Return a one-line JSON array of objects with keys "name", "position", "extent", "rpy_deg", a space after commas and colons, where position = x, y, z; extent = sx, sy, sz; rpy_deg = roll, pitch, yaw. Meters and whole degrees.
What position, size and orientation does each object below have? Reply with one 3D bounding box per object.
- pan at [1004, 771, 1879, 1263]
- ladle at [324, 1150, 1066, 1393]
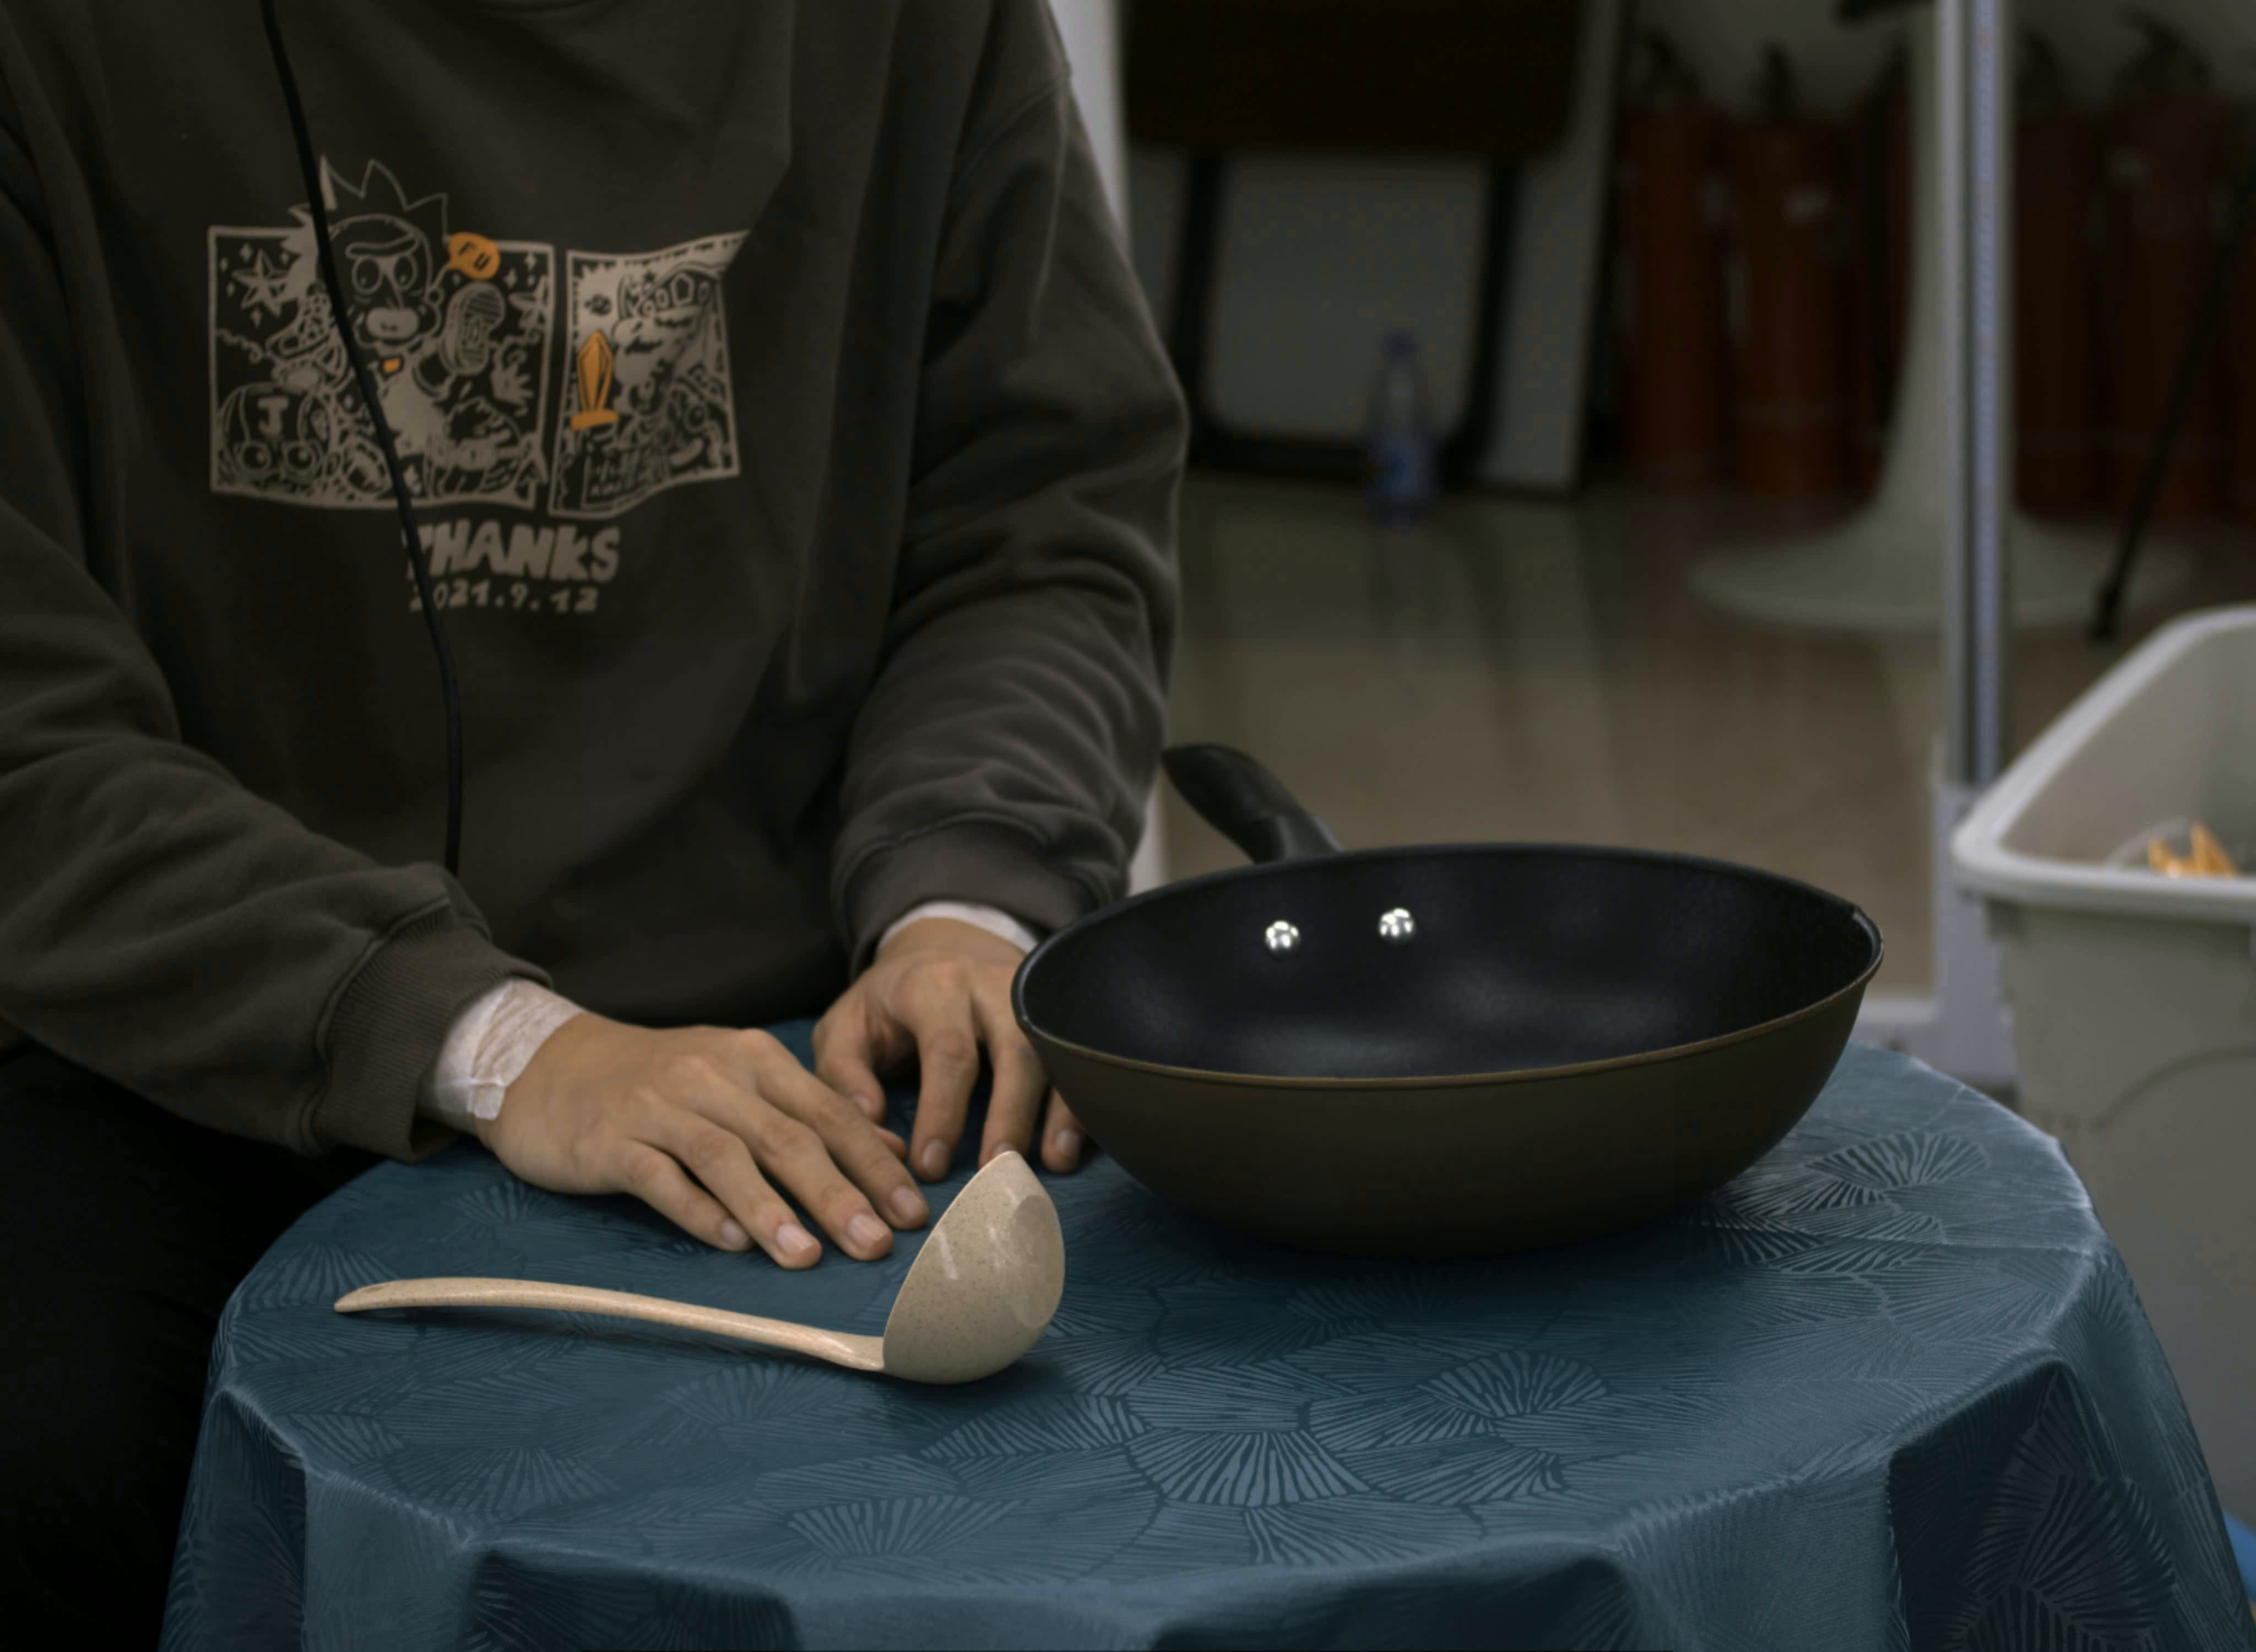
[{"name": "pan", "position": [0.081, 0.061, 1.826], "extent": [0.283, 0.088, 0.466], "rpy_deg": [-7, 13, -12]}, {"name": "ladle", "position": [-0.139, 0.126, 1.642], "extent": [0.255, 0.073, 0.071], "rpy_deg": [4, 17, 25]}]
